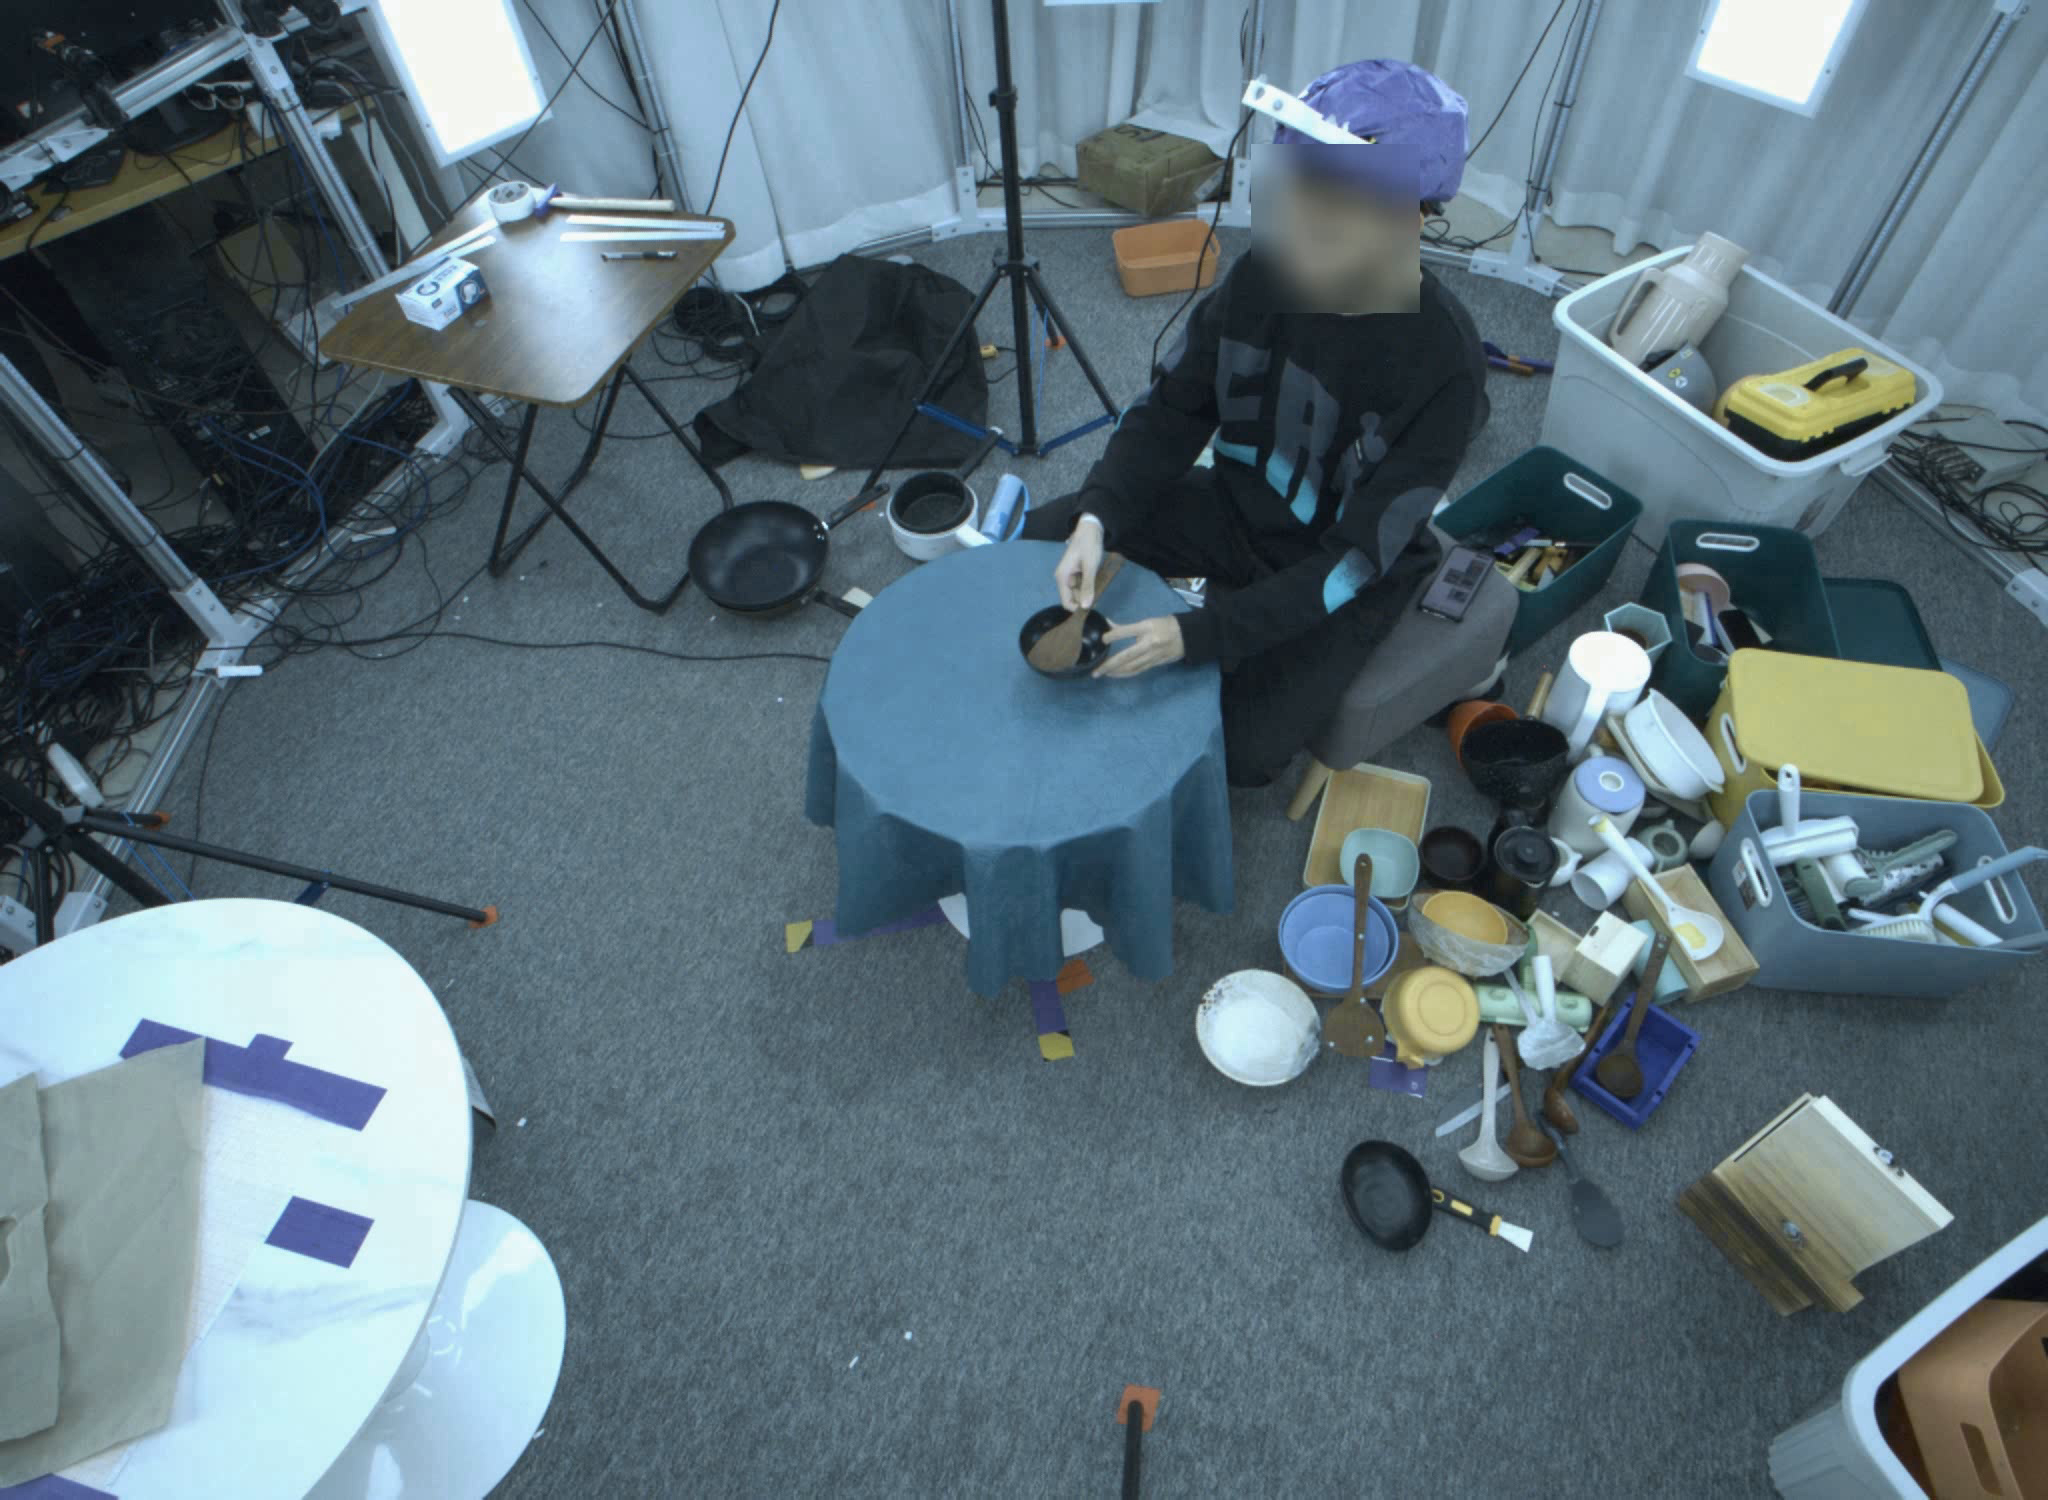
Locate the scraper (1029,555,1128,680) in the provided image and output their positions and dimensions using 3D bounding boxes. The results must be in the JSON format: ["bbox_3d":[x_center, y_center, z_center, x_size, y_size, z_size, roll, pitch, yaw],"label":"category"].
[{"bbox_3d":[0.089,-0.200,1.824,0.074,0.011,0.211,31,85,23],"label":"scraper"}]

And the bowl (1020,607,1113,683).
[{"bbox_3d":[0.065,-0.147,1.835,0.139,0.050,0.138,-3,52,5],"label":"bowl"}]
